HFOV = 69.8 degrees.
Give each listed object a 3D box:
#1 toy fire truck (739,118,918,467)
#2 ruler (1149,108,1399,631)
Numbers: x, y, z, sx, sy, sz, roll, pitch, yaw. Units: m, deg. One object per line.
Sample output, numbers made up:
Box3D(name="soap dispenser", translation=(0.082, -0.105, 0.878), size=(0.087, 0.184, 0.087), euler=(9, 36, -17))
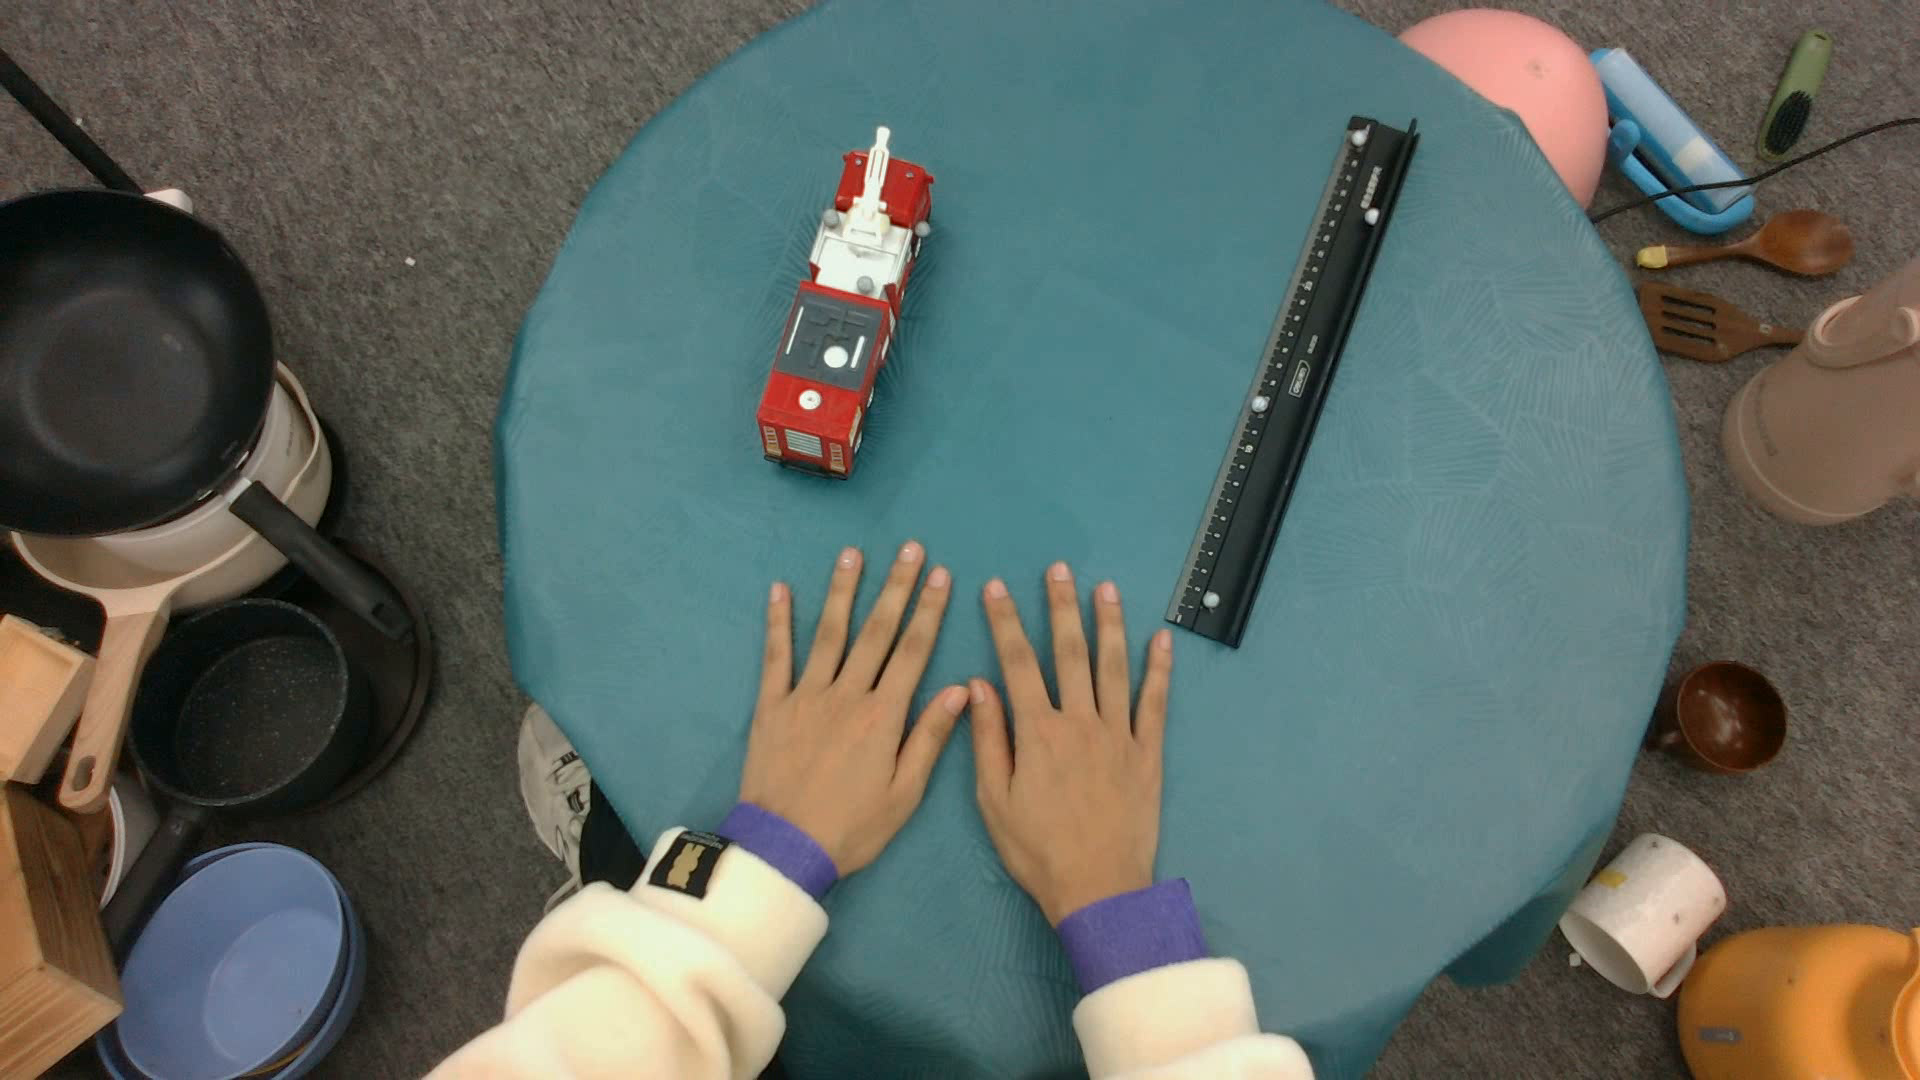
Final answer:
Box3D(name="toy fire truck", translation=(-0.065, -0.122, 0.687), size=(0.054, 0.070, 0.168), euler=(15, 73, 2))
Box3D(name="ruler", translation=(0.168, -0.101, 0.712), size=(0.039, 0.017, 0.313), euler=(21, 72, 8))
